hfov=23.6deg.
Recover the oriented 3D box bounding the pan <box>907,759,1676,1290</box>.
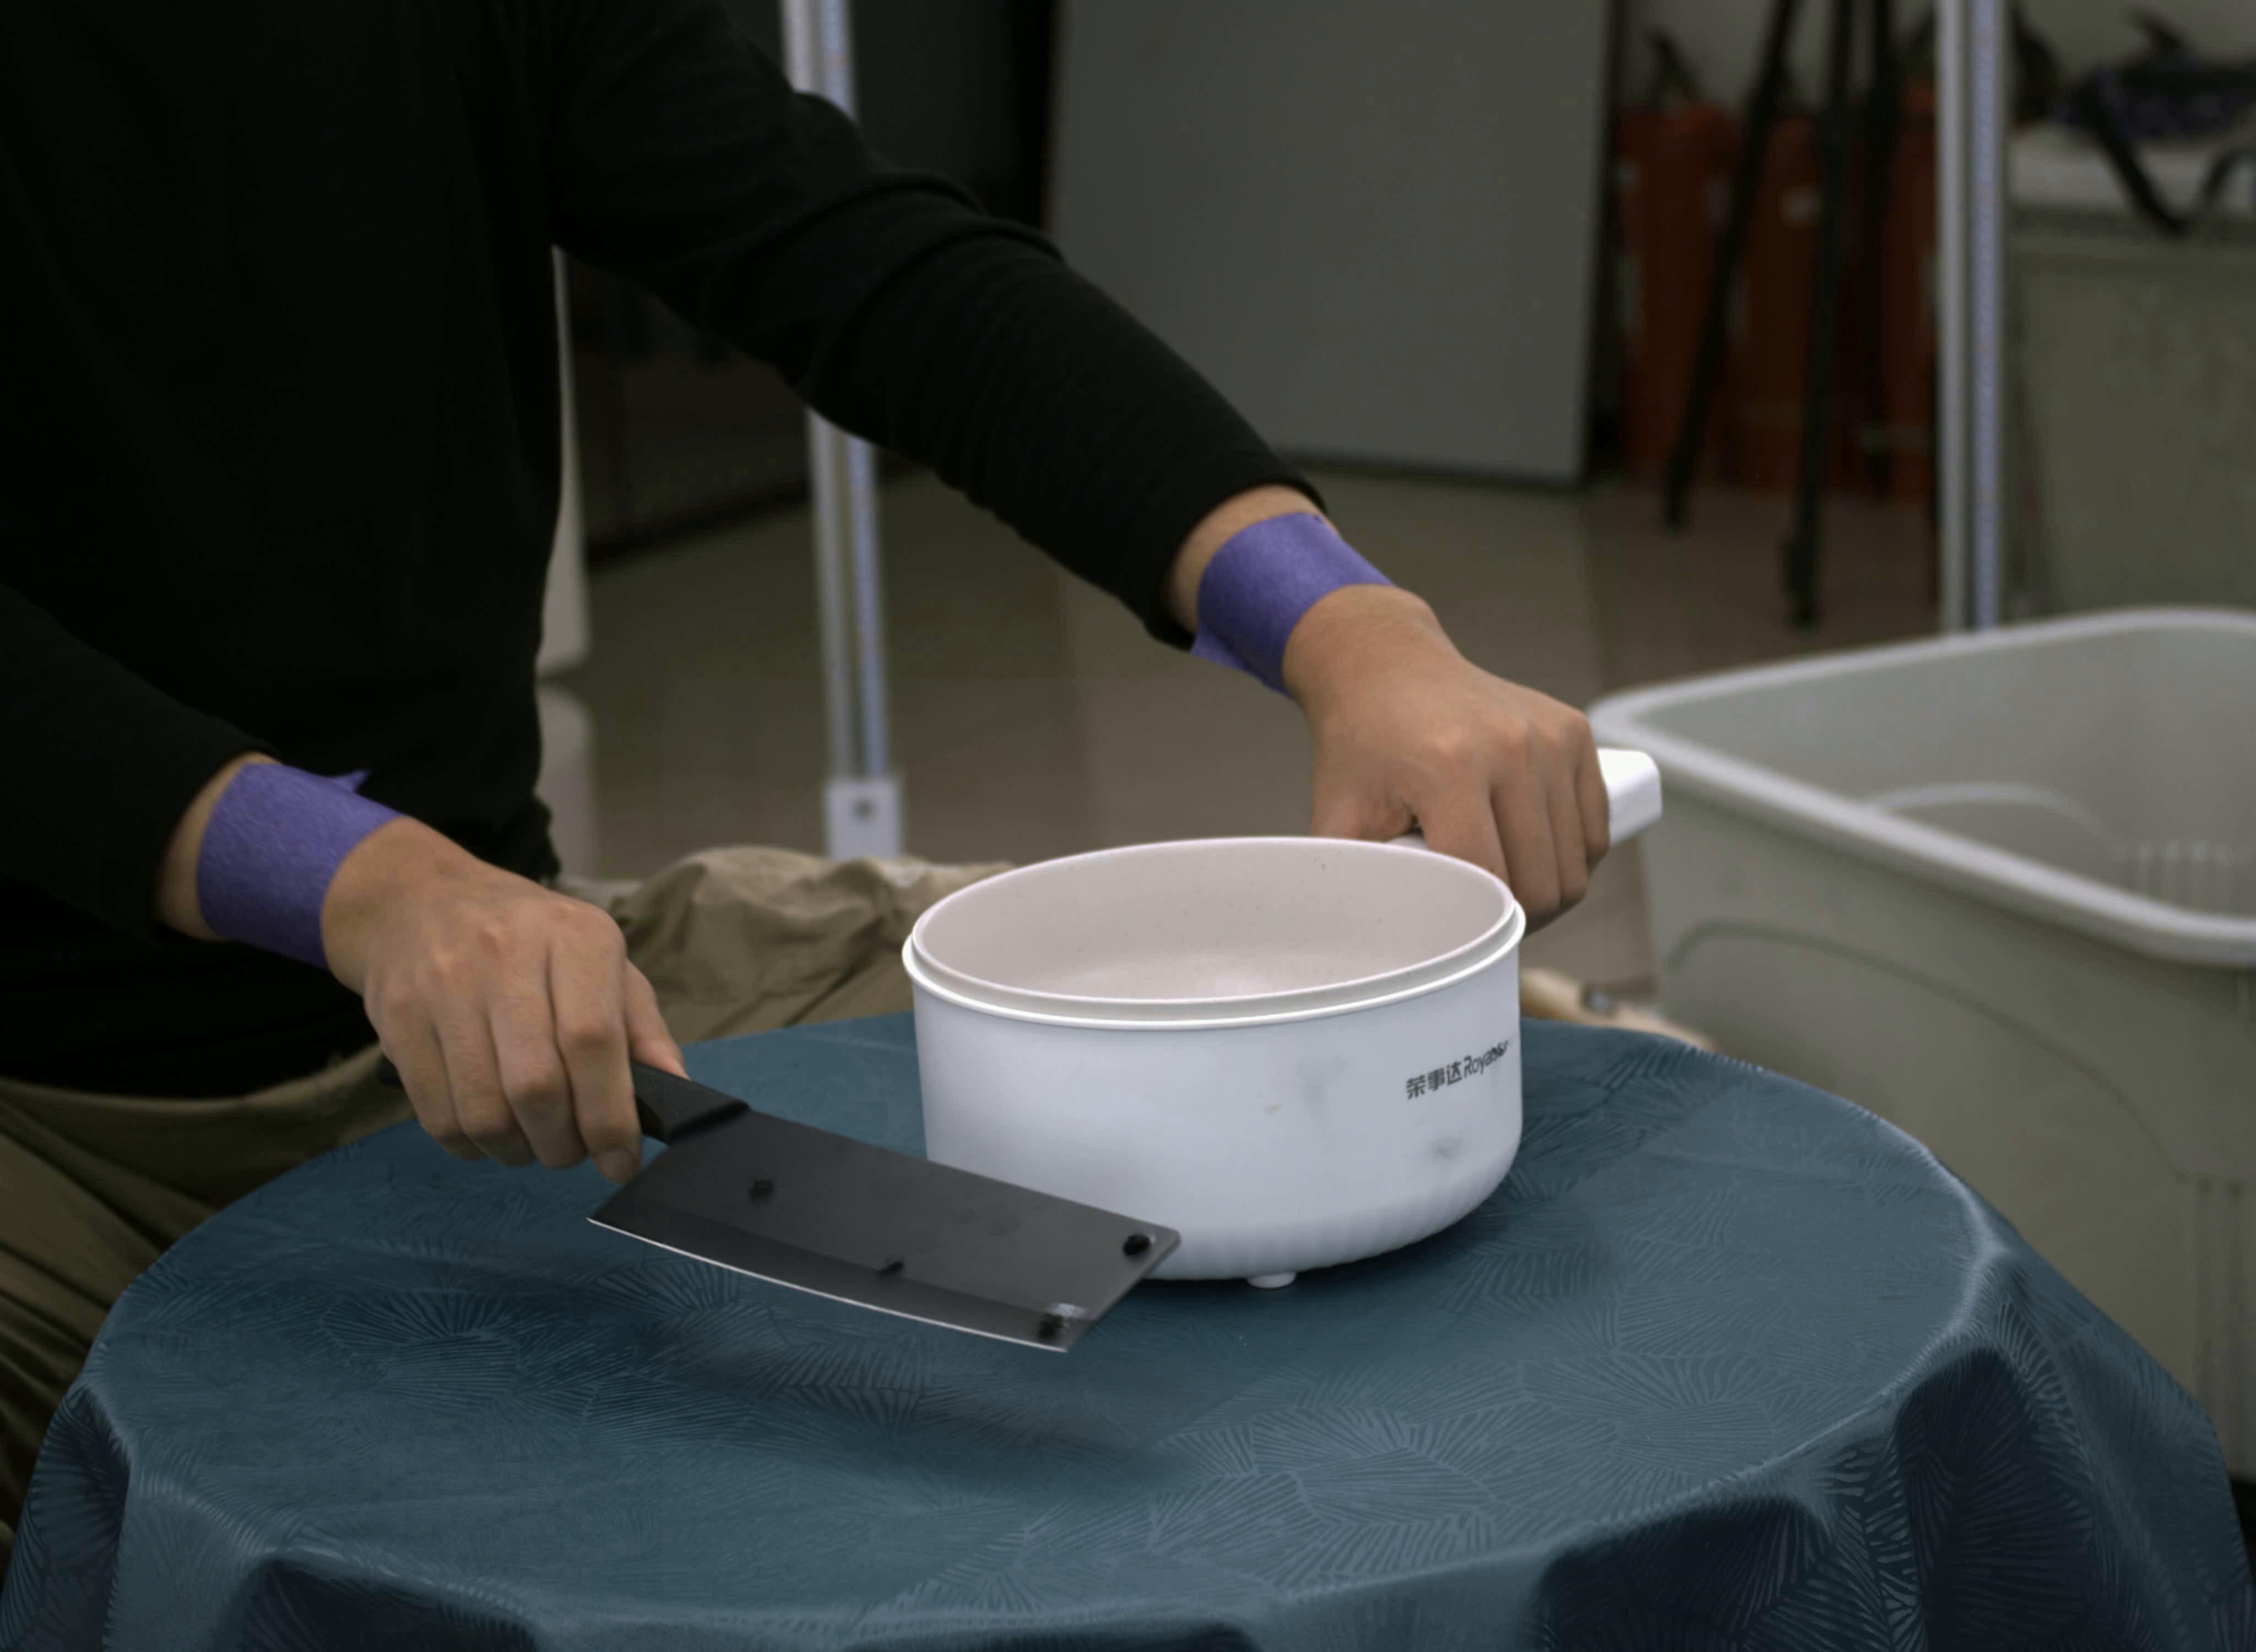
[{"bbox_3d":[0.076,0.061,1.793,0.202,0.103,0.348,5,16,37],"label":"pan"}]

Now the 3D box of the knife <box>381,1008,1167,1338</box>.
[{"bbox_3d":[-0.118,0.102,1.627,0.305,0.021,0.080,17,42,41],"label":"knife"}]
